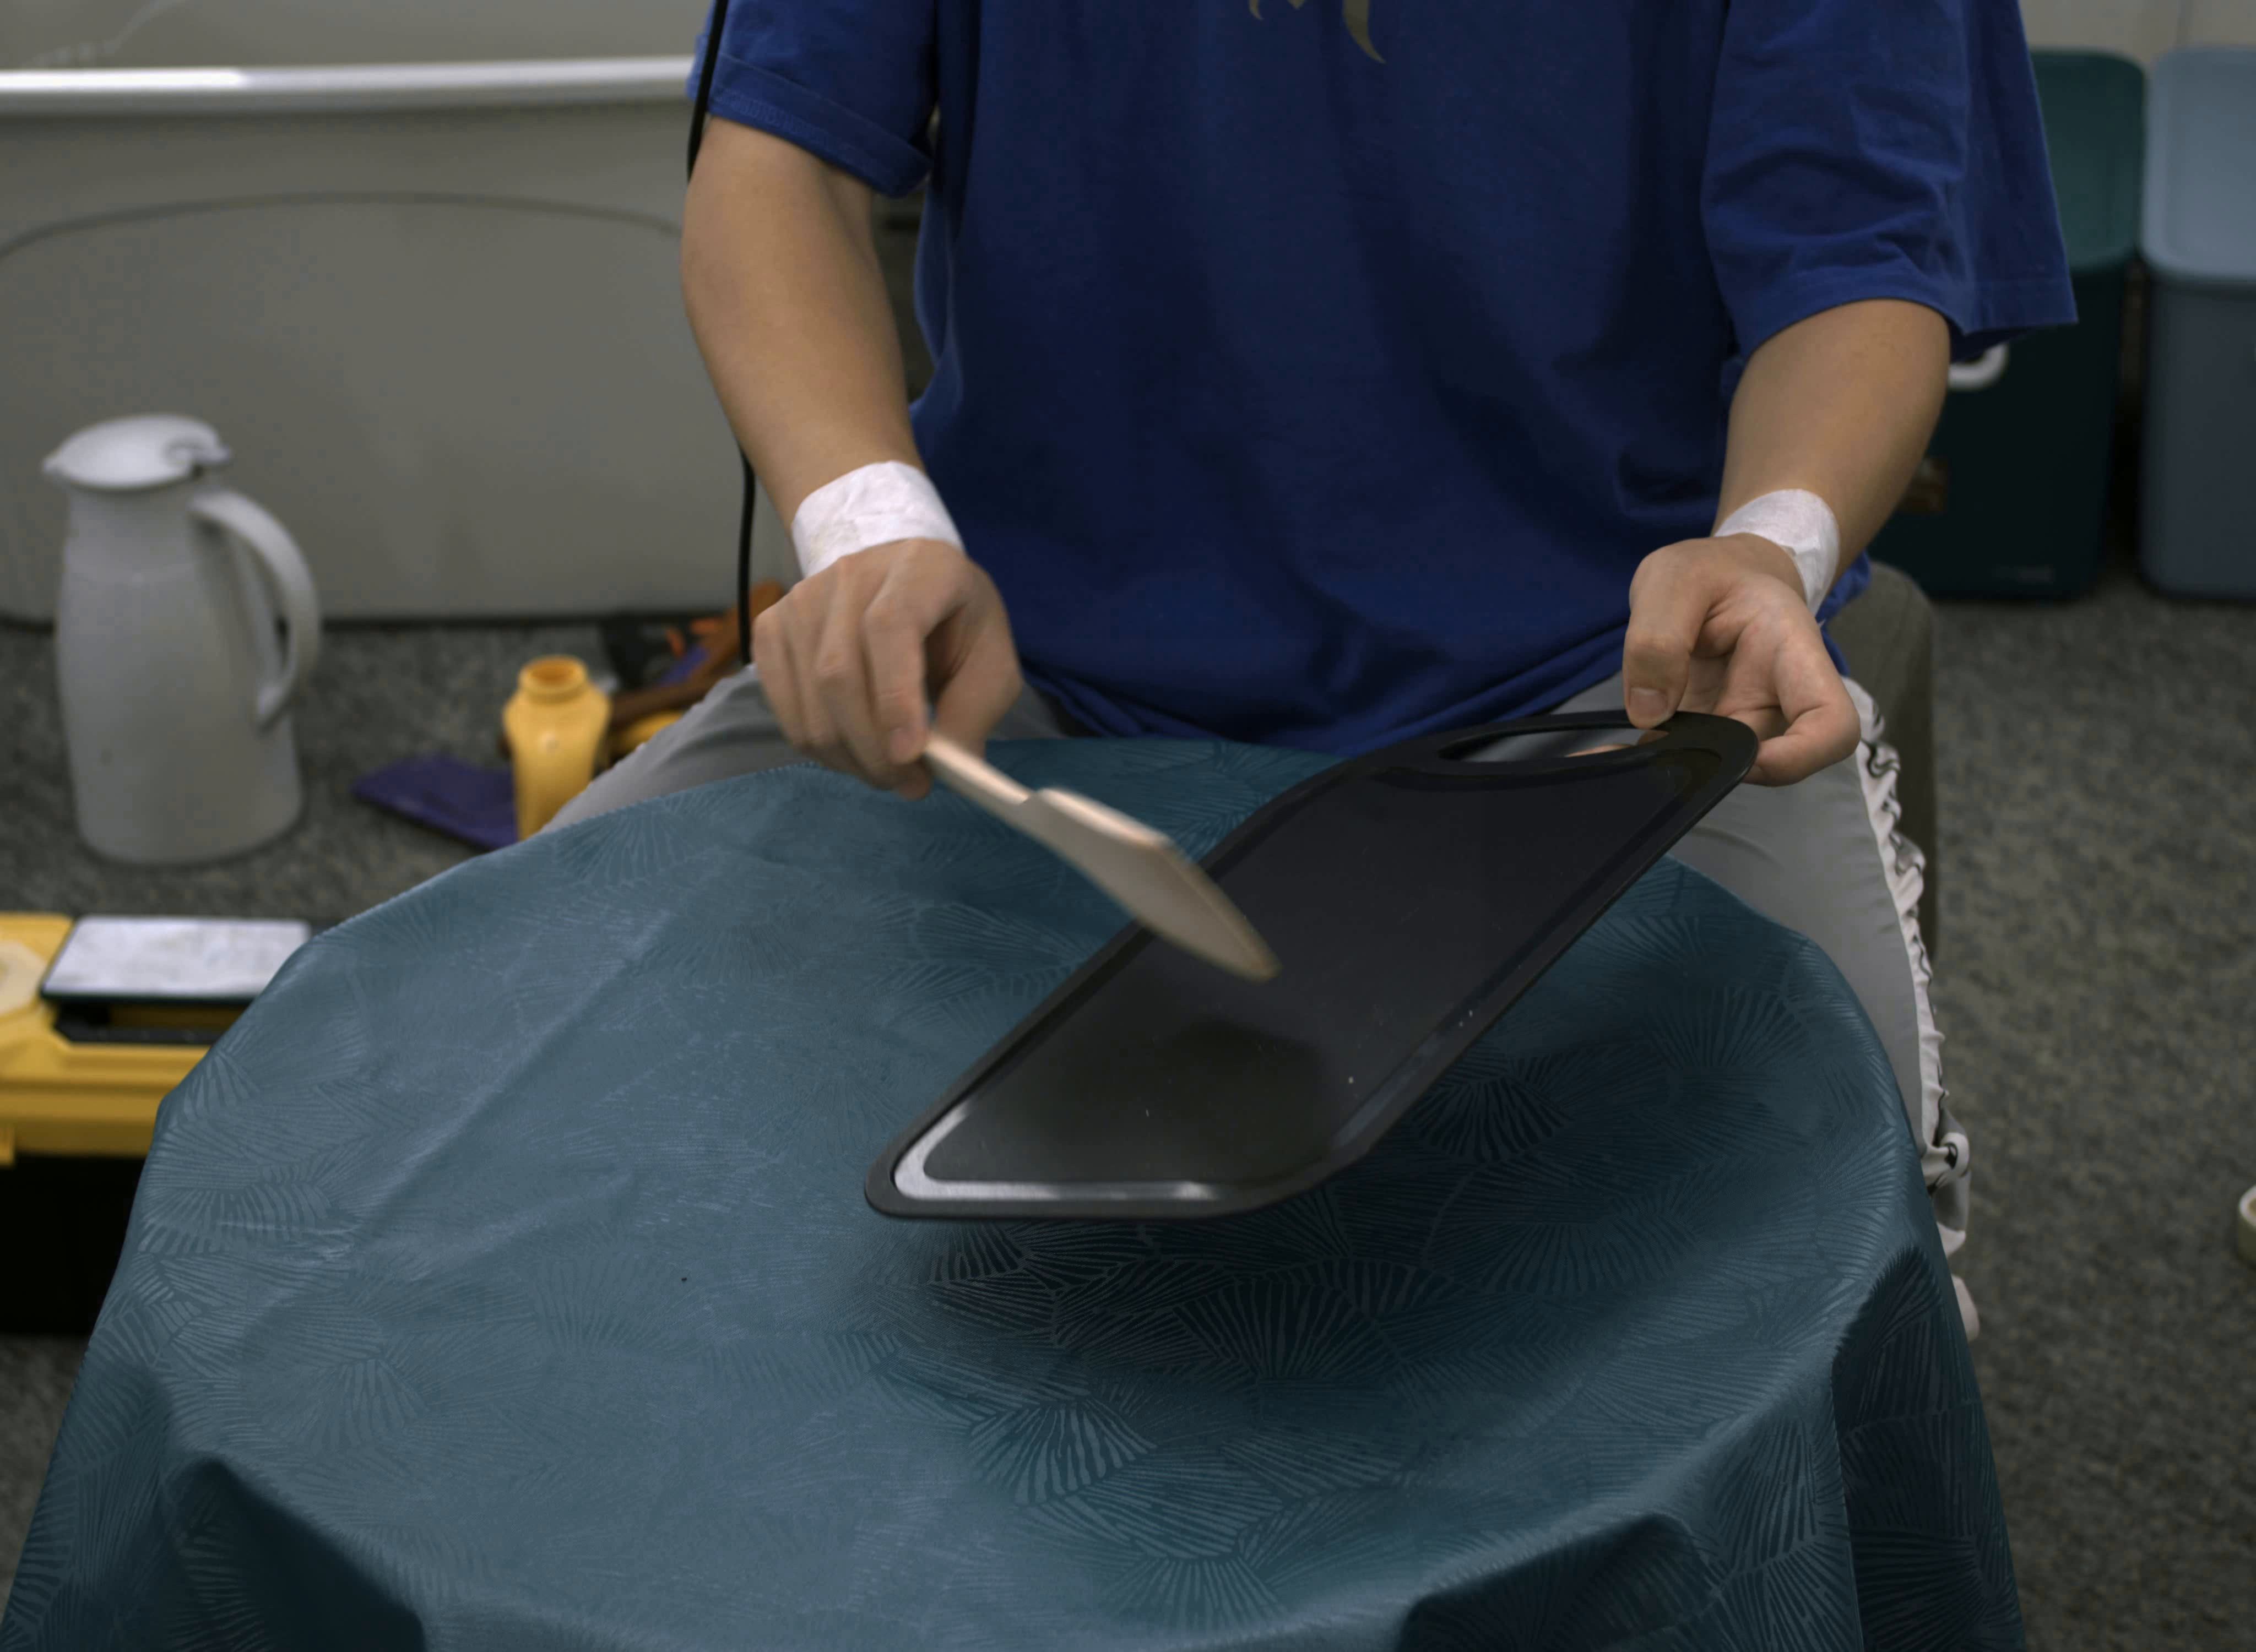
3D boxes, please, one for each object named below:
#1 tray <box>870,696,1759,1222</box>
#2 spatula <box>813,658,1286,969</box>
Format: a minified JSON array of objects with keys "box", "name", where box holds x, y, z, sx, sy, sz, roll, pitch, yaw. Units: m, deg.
[{"box":[0.066,0.038,1.839,0.209,0.010,0.331,-4,27,43],"name":"tray"},{"box":[-0.039,-0.014,1.896,0.011,0.072,0.293,-46,32,-9],"name":"spatula"}]
